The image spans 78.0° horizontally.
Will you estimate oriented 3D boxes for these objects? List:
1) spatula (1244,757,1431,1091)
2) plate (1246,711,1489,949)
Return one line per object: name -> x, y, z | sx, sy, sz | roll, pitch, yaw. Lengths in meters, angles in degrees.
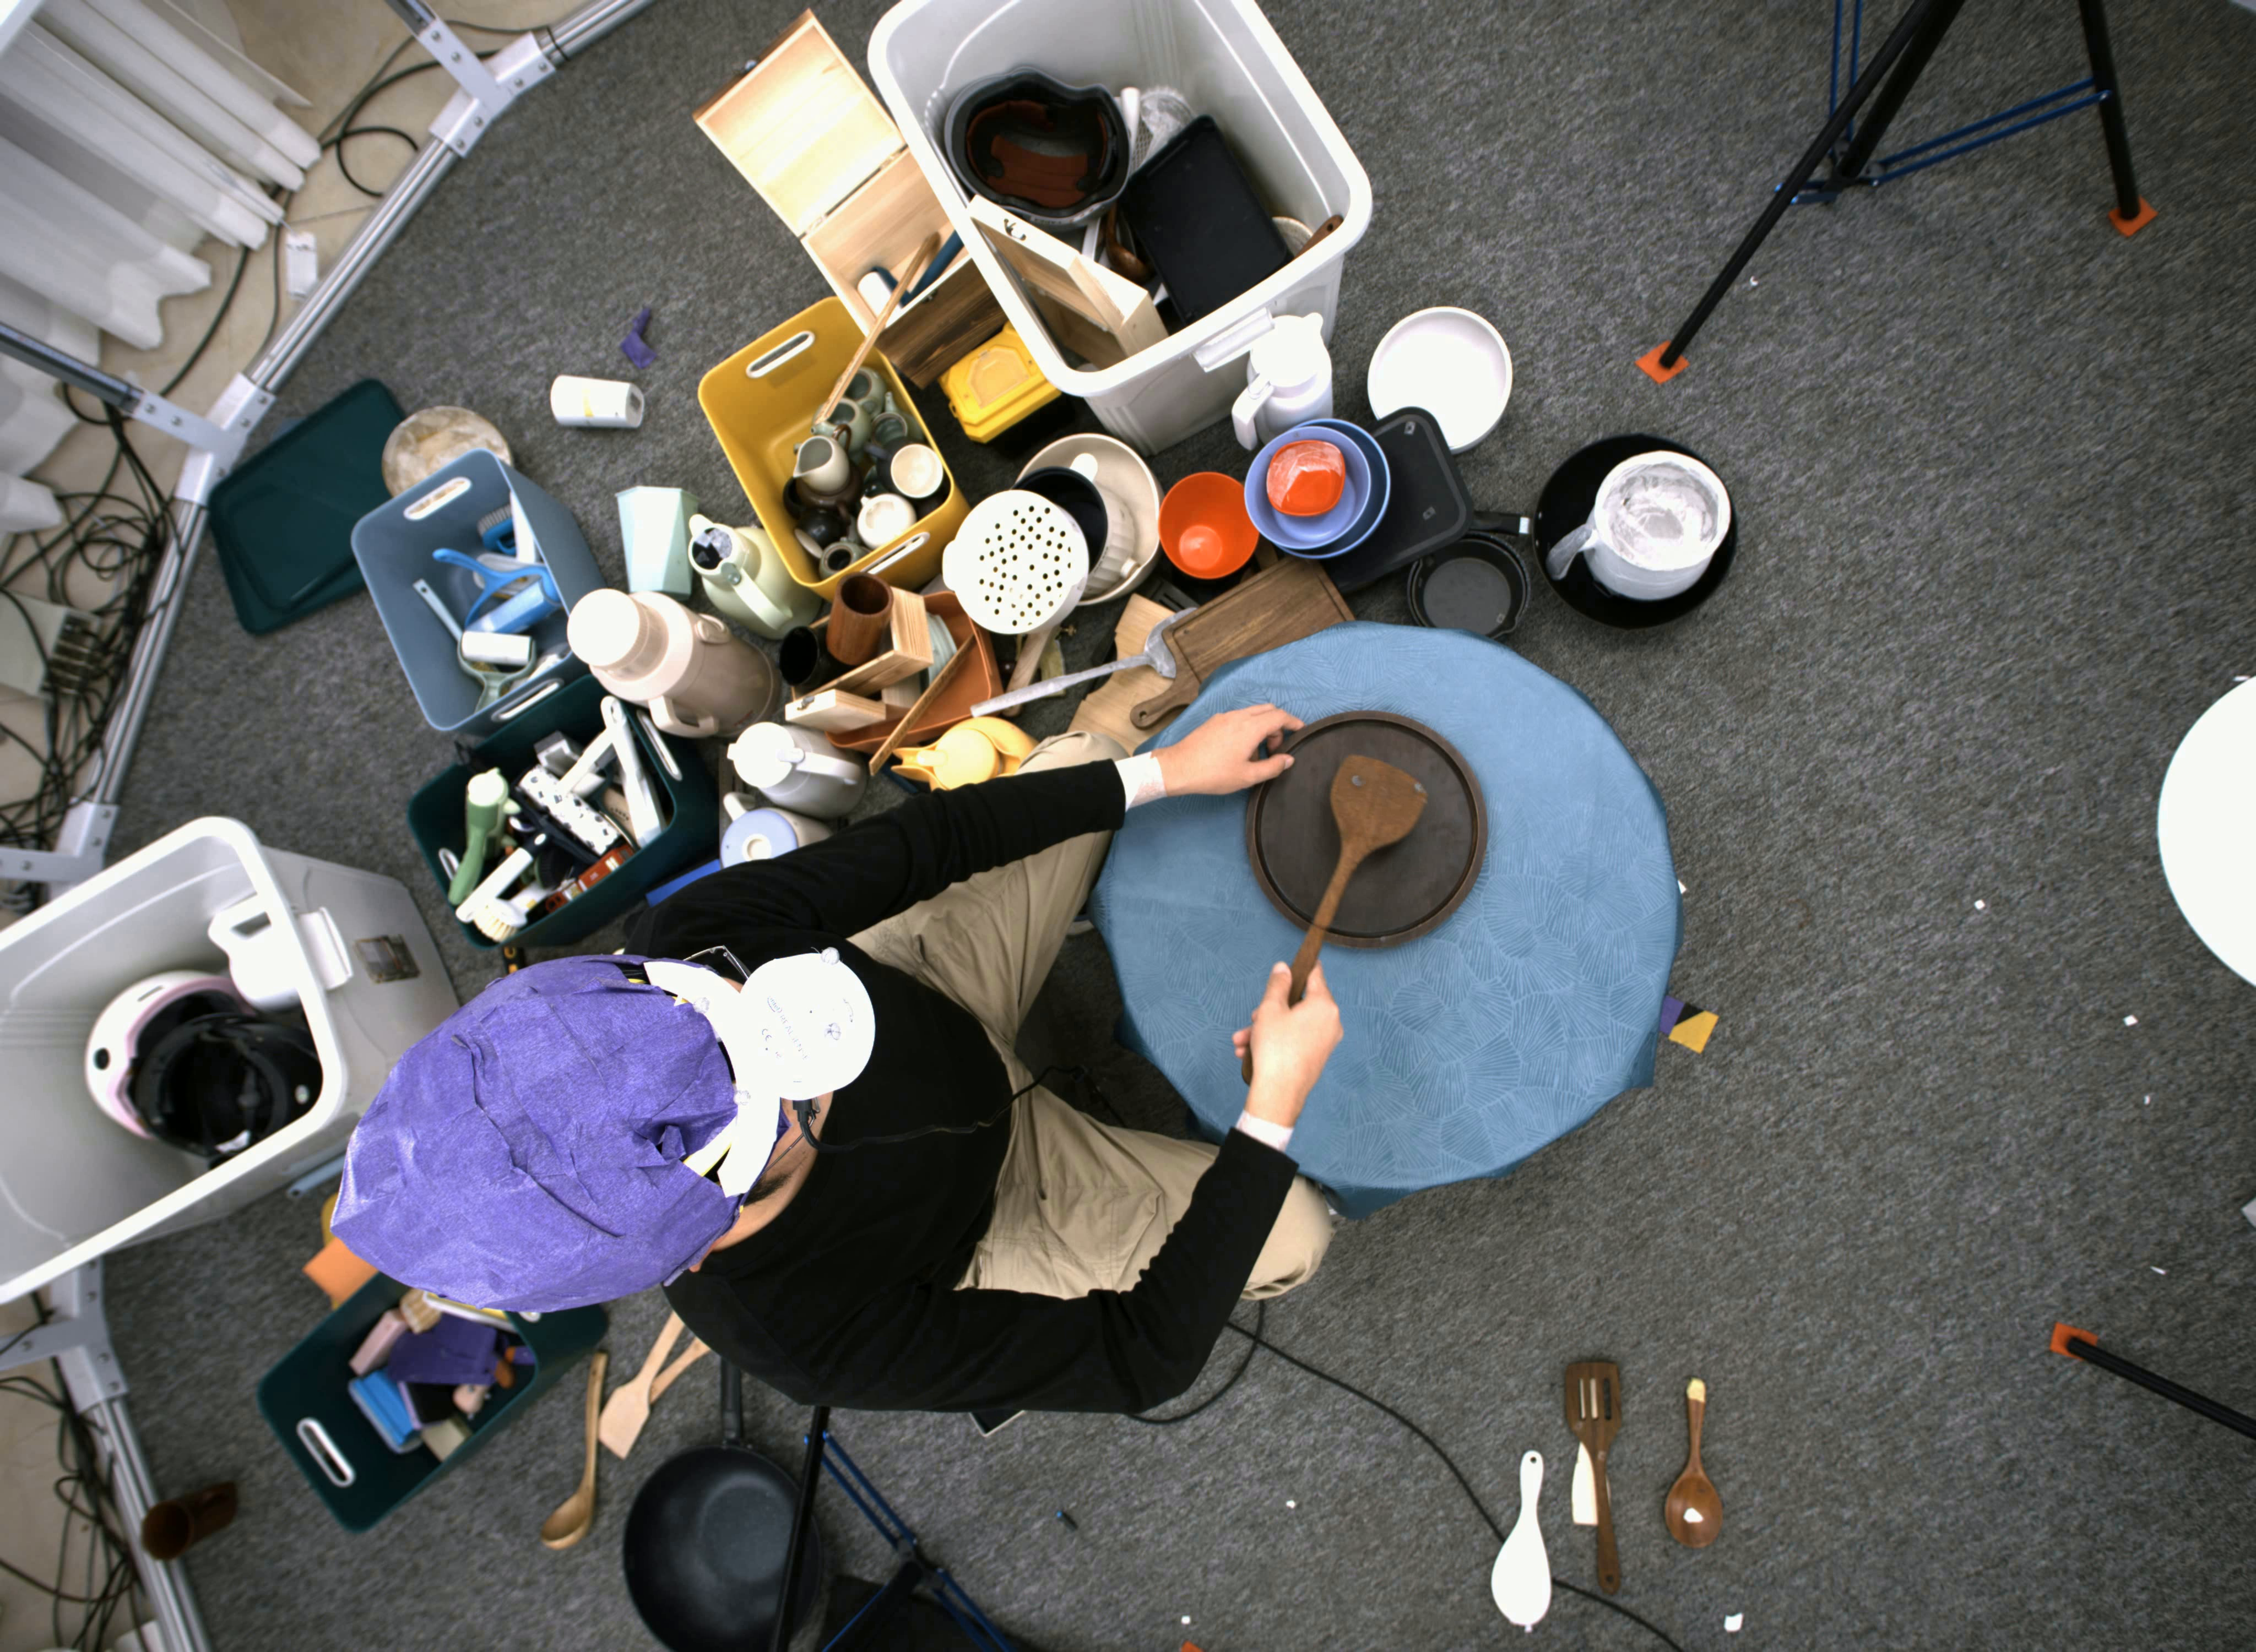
spatula -> 0.192, 0.086, 1.324 | 0.096, 0.016, 0.377 | 26, 62, 6
plate -> 0.251, 0.003, 1.455 | 0.256, 0.029, 0.254 | -1, 88, 10
